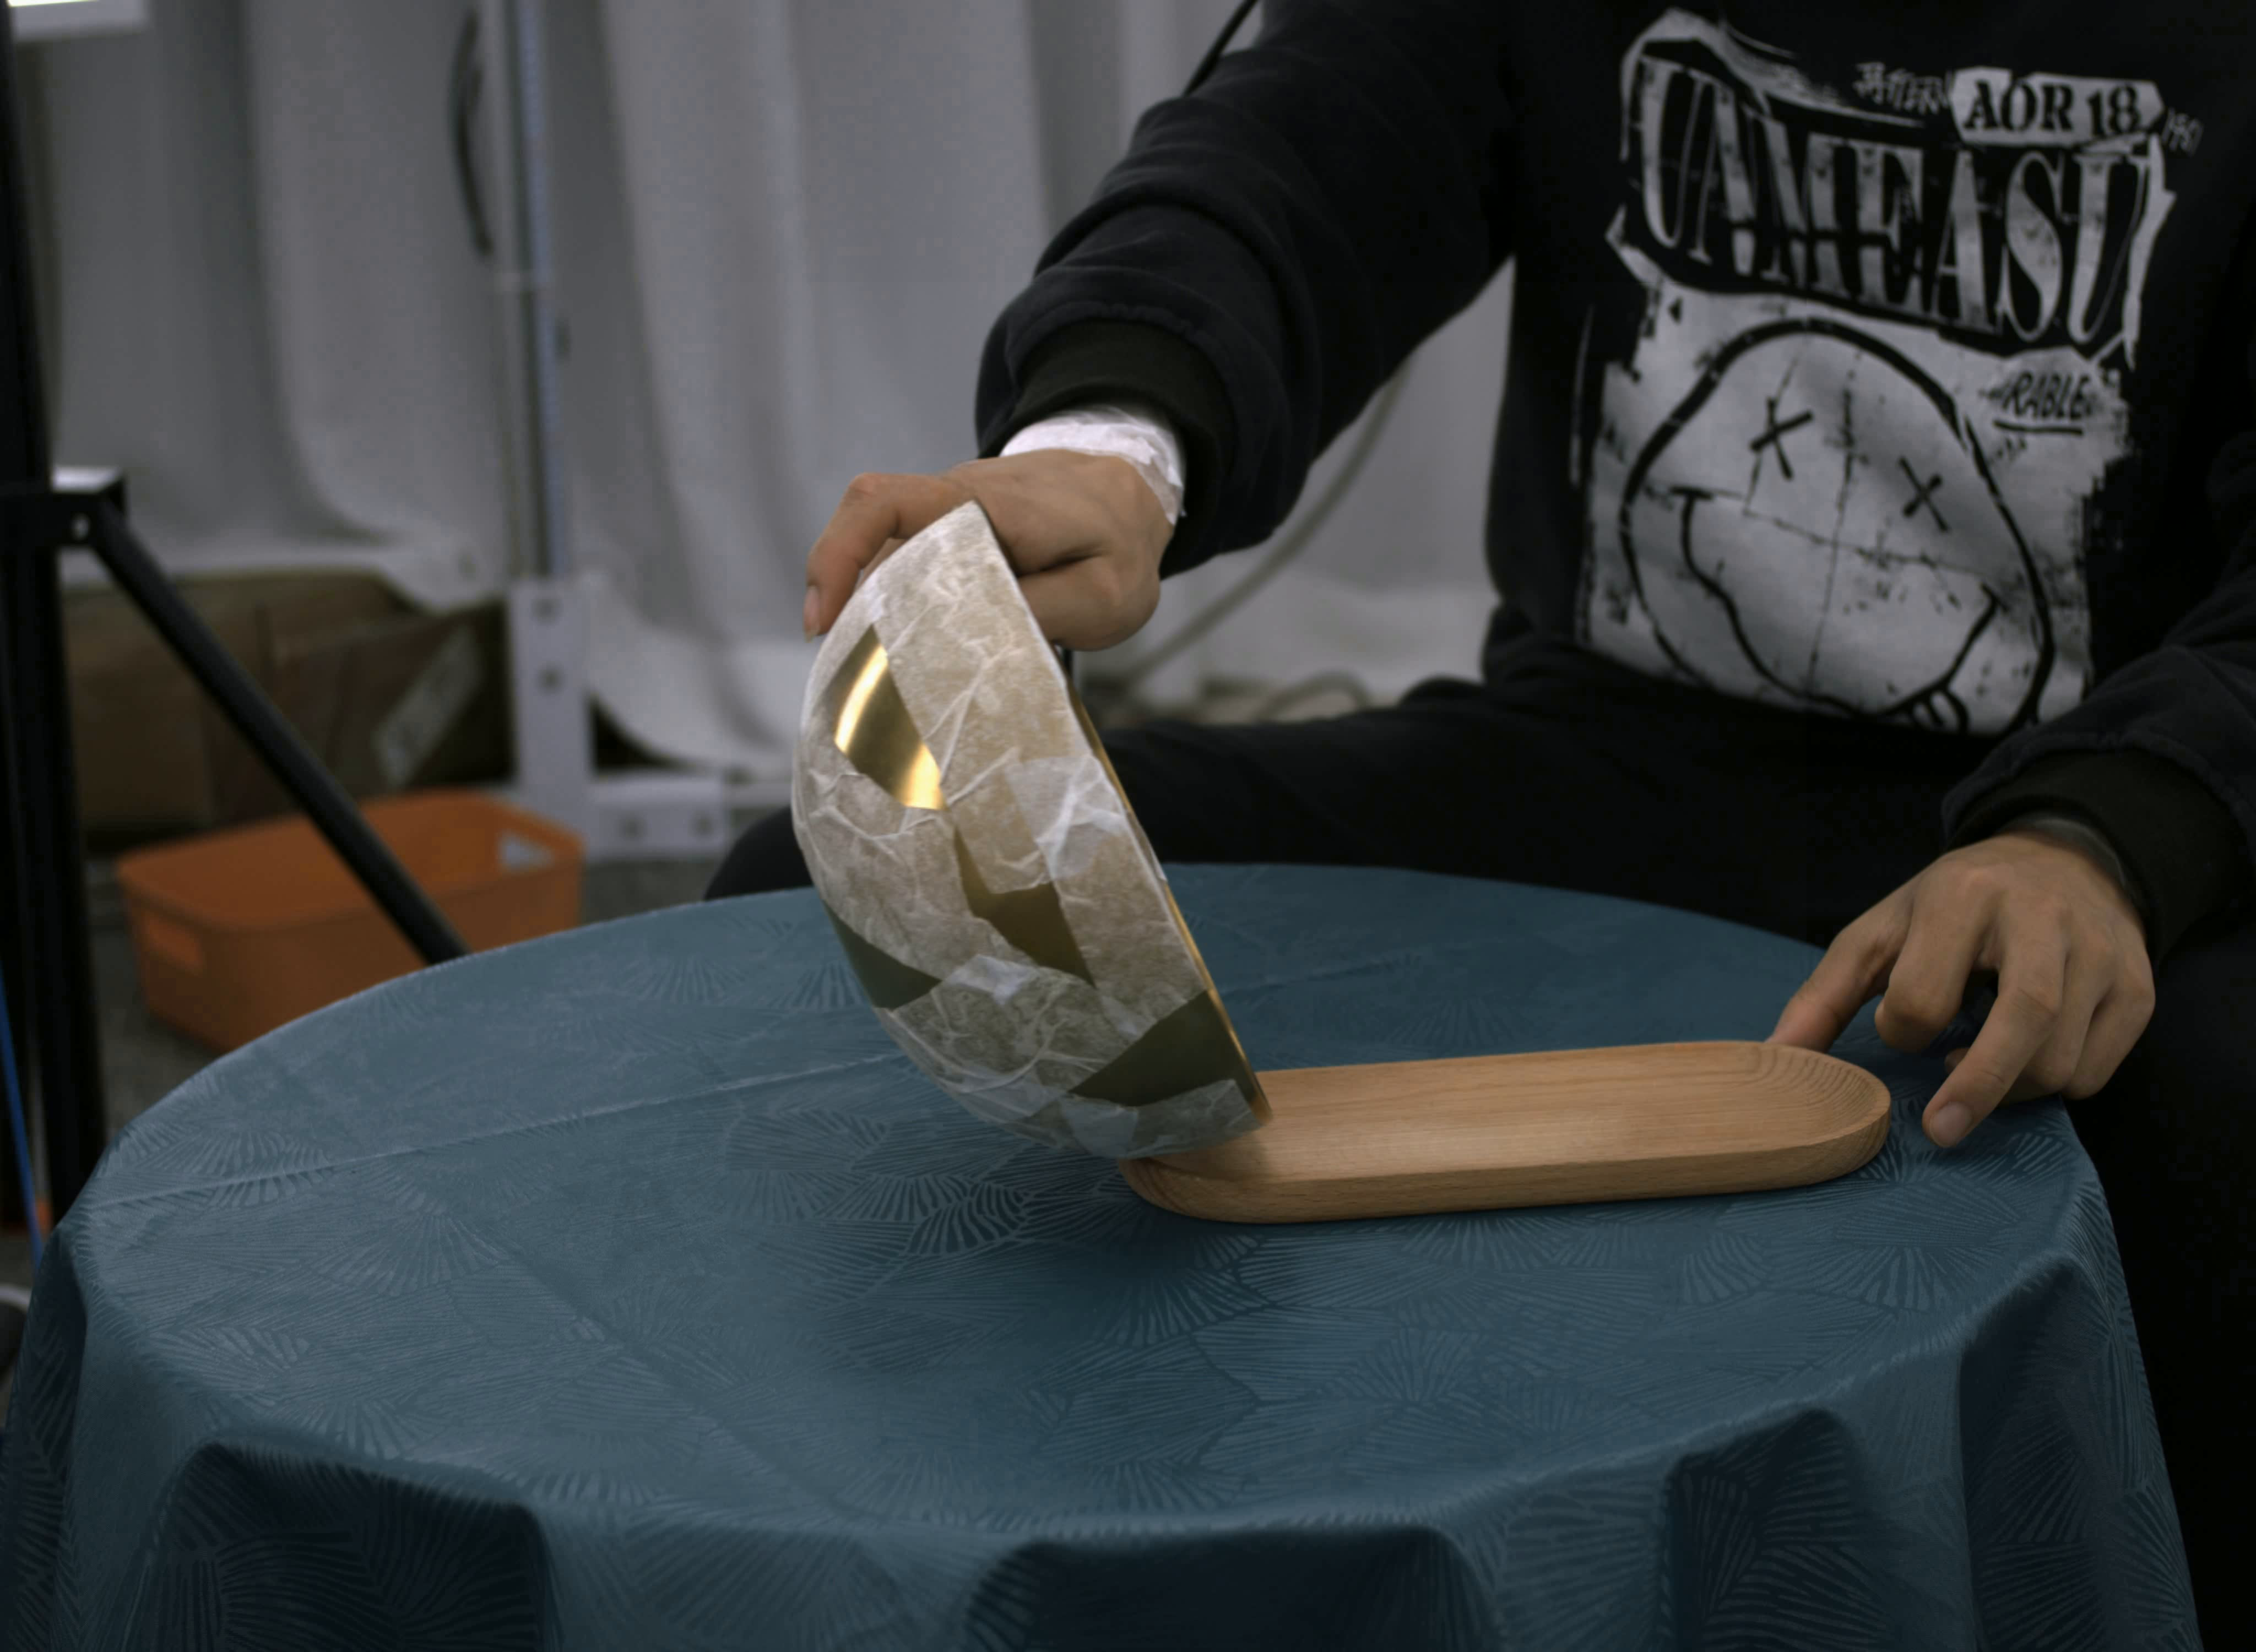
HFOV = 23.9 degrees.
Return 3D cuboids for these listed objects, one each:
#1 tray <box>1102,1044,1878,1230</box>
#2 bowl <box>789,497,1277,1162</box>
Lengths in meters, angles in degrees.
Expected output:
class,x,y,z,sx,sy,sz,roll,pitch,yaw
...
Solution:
class,x,y,z,sx,sy,sz,roll,pitch,yaw
tray,0.108,0.092,1.567,0.229,0.020,0.102,-6,14,-3
bowl,-0.039,0.017,1.537,0.094,0.213,0.216,-26,16,1
